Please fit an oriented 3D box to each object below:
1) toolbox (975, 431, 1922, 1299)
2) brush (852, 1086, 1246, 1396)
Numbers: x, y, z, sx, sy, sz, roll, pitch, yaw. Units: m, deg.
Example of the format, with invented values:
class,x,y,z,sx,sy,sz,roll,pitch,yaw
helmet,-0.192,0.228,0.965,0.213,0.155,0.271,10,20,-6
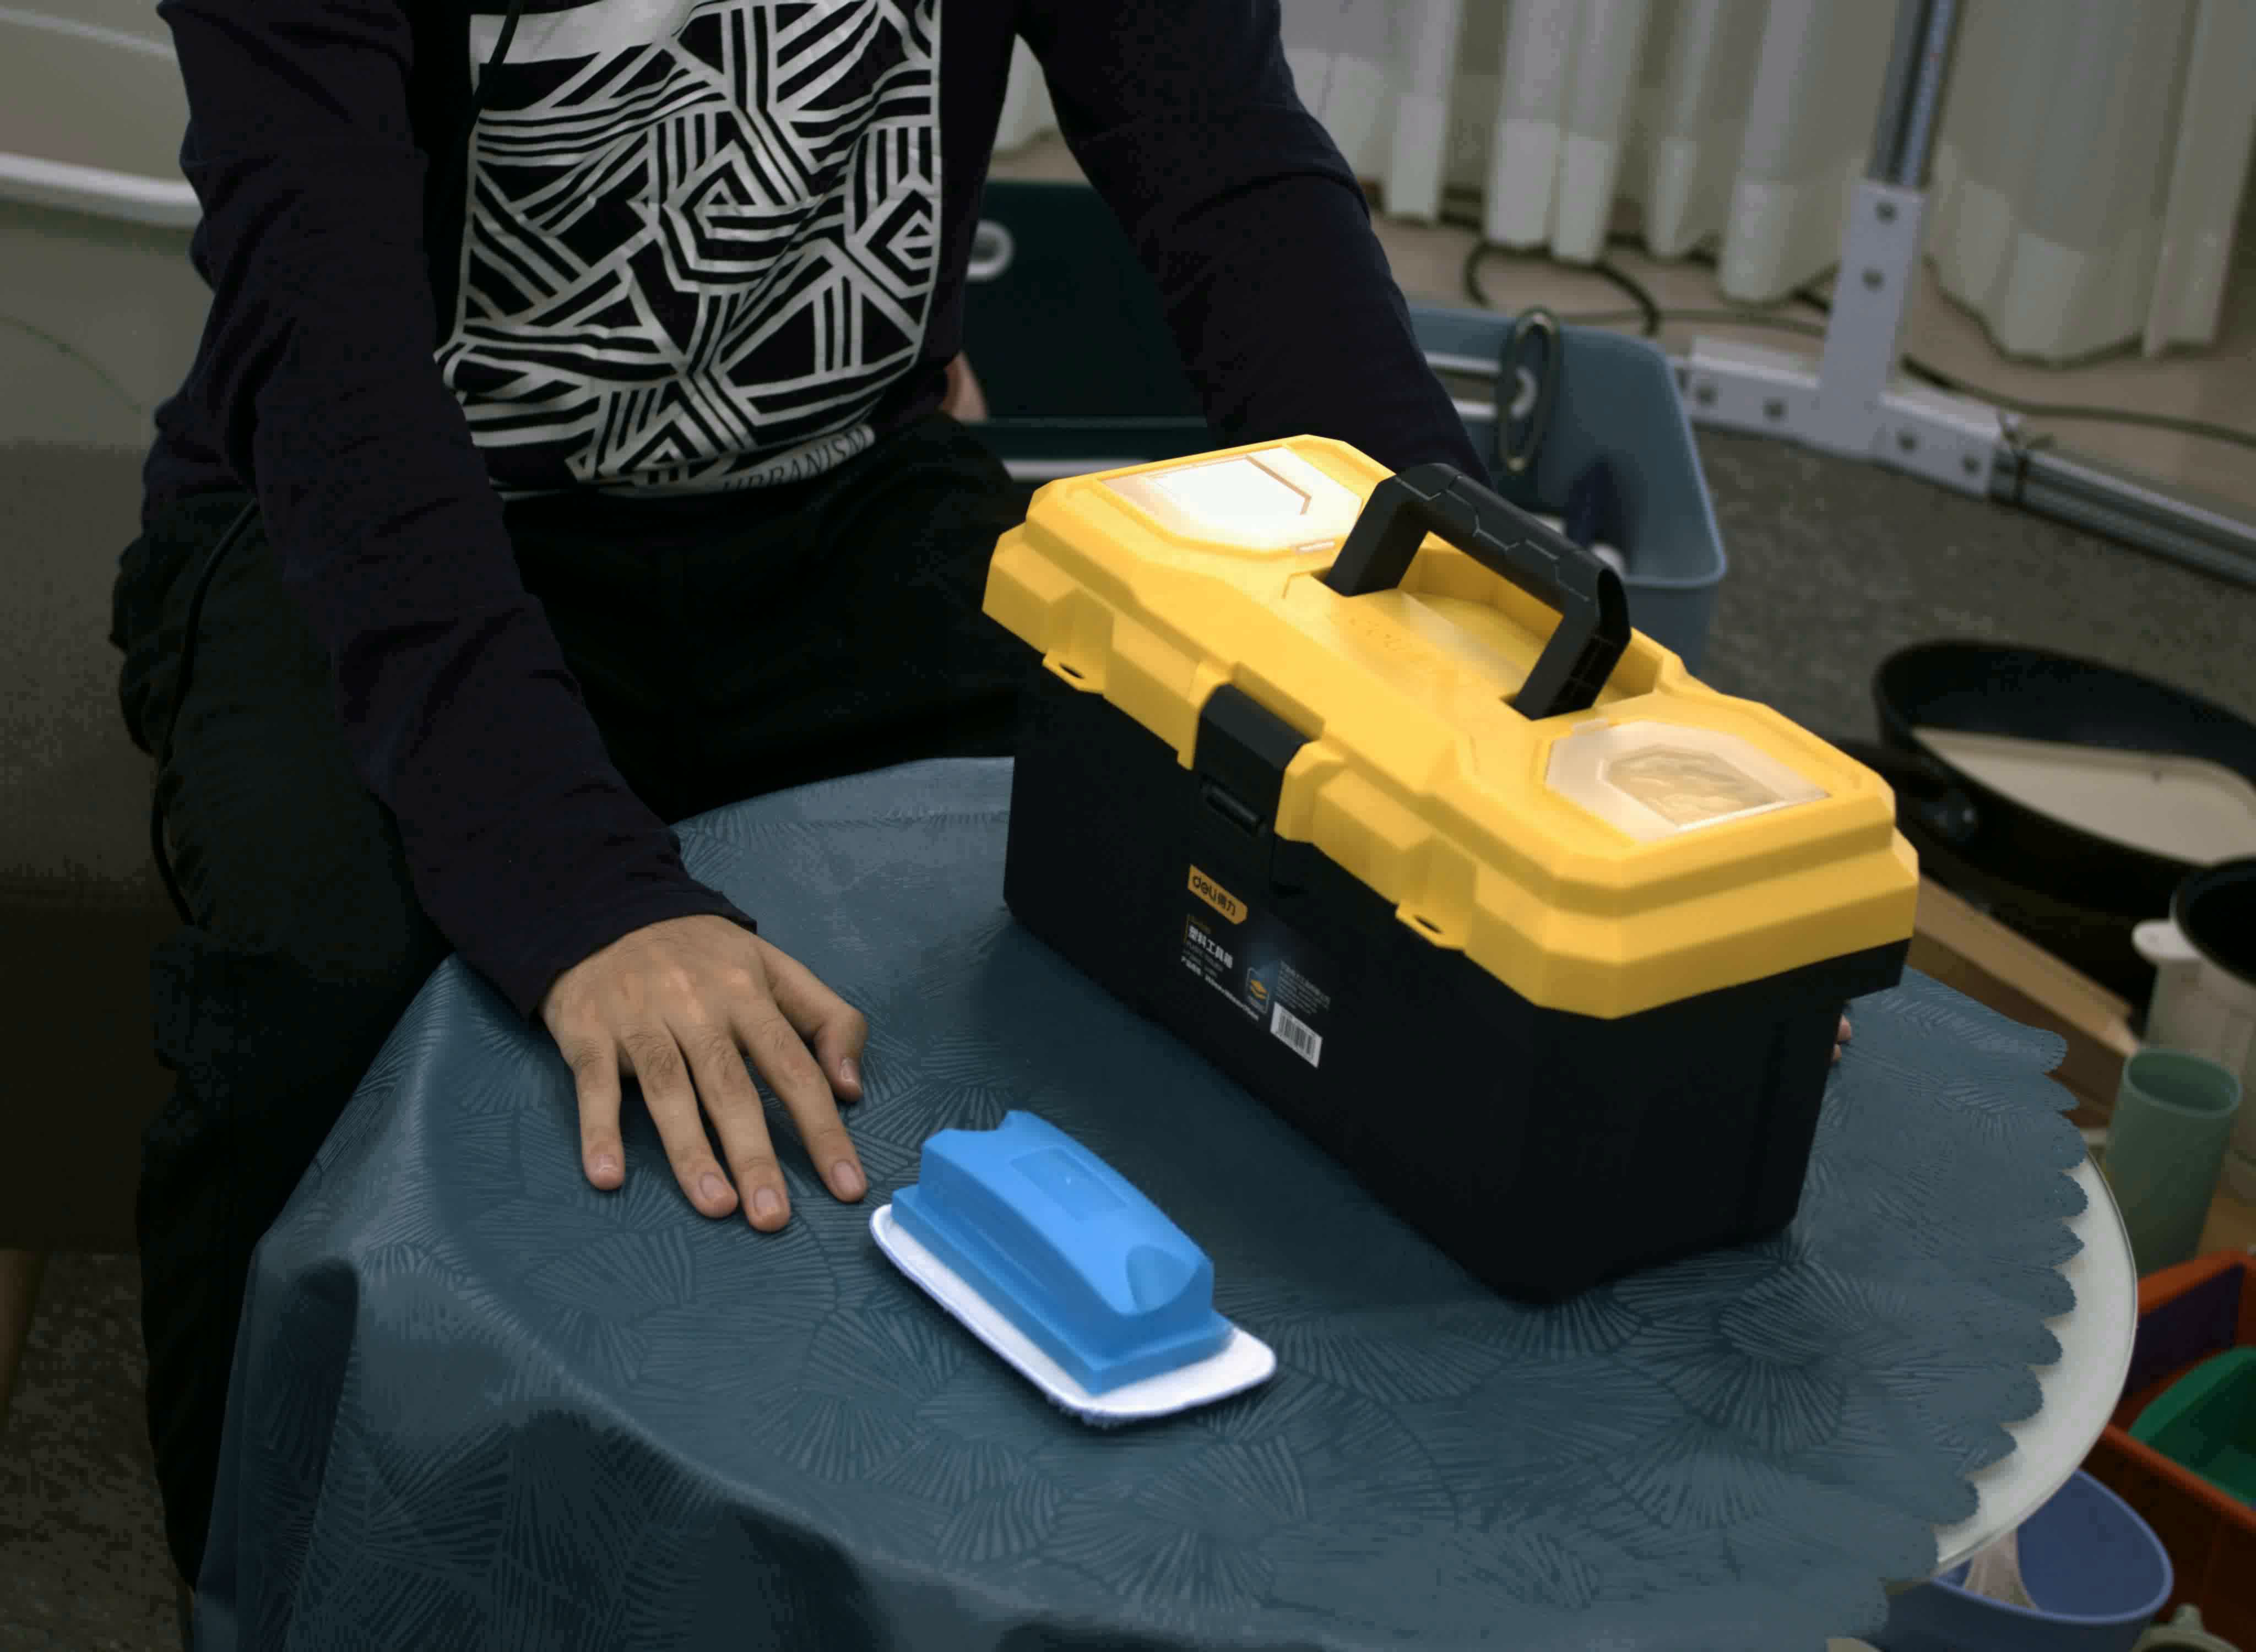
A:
class,x,y,z,sx,sy,sz,roll,pitch,yaw
toolbox,0.100,0.007,1.864,0.180,0.172,0.354,-13,33,-34
brush,-0.023,0.129,1.721,0.083,0.056,0.145,-8,32,-33
